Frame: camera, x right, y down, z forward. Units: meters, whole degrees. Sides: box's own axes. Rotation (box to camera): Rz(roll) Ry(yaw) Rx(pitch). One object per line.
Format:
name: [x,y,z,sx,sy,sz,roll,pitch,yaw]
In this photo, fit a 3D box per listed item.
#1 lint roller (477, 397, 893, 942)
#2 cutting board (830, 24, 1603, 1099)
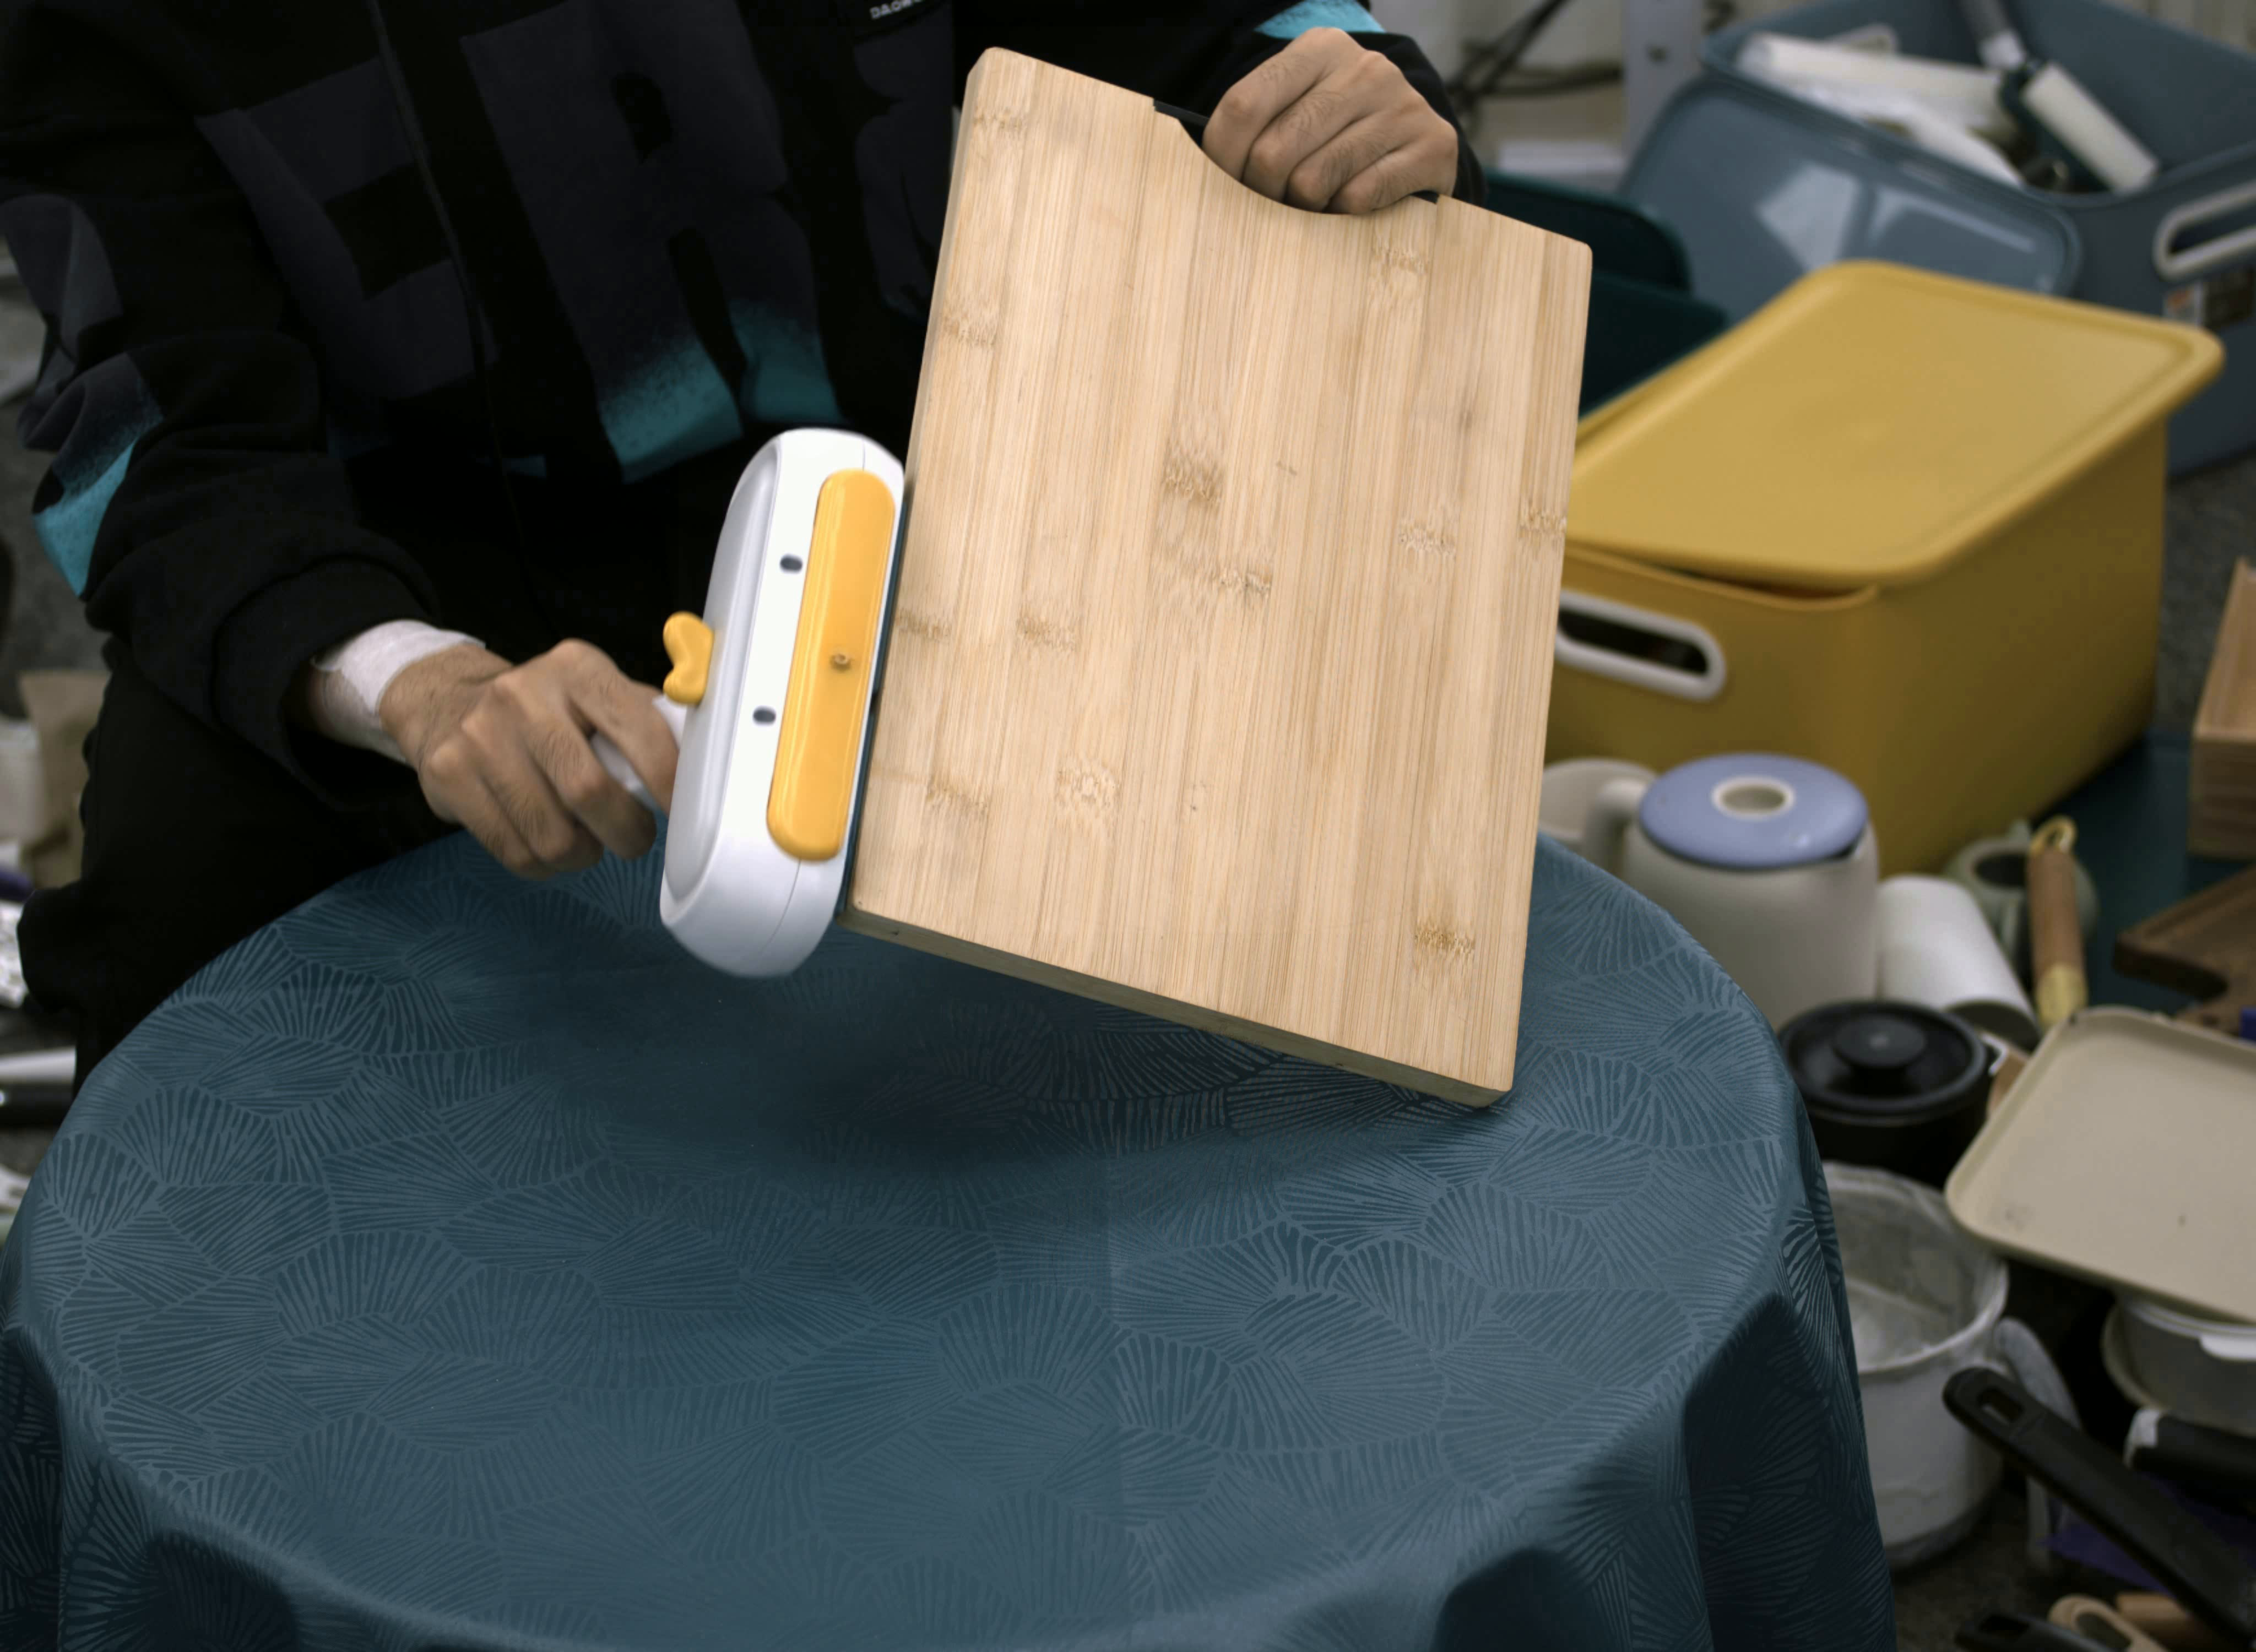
lint roller: [-0.151,-0.033,1.902,0.074,0.189,0.196,19,56,-29]
cutting board: [0.037,-0.094,1.942,0.250,0.023,0.355,17,61,-17]
